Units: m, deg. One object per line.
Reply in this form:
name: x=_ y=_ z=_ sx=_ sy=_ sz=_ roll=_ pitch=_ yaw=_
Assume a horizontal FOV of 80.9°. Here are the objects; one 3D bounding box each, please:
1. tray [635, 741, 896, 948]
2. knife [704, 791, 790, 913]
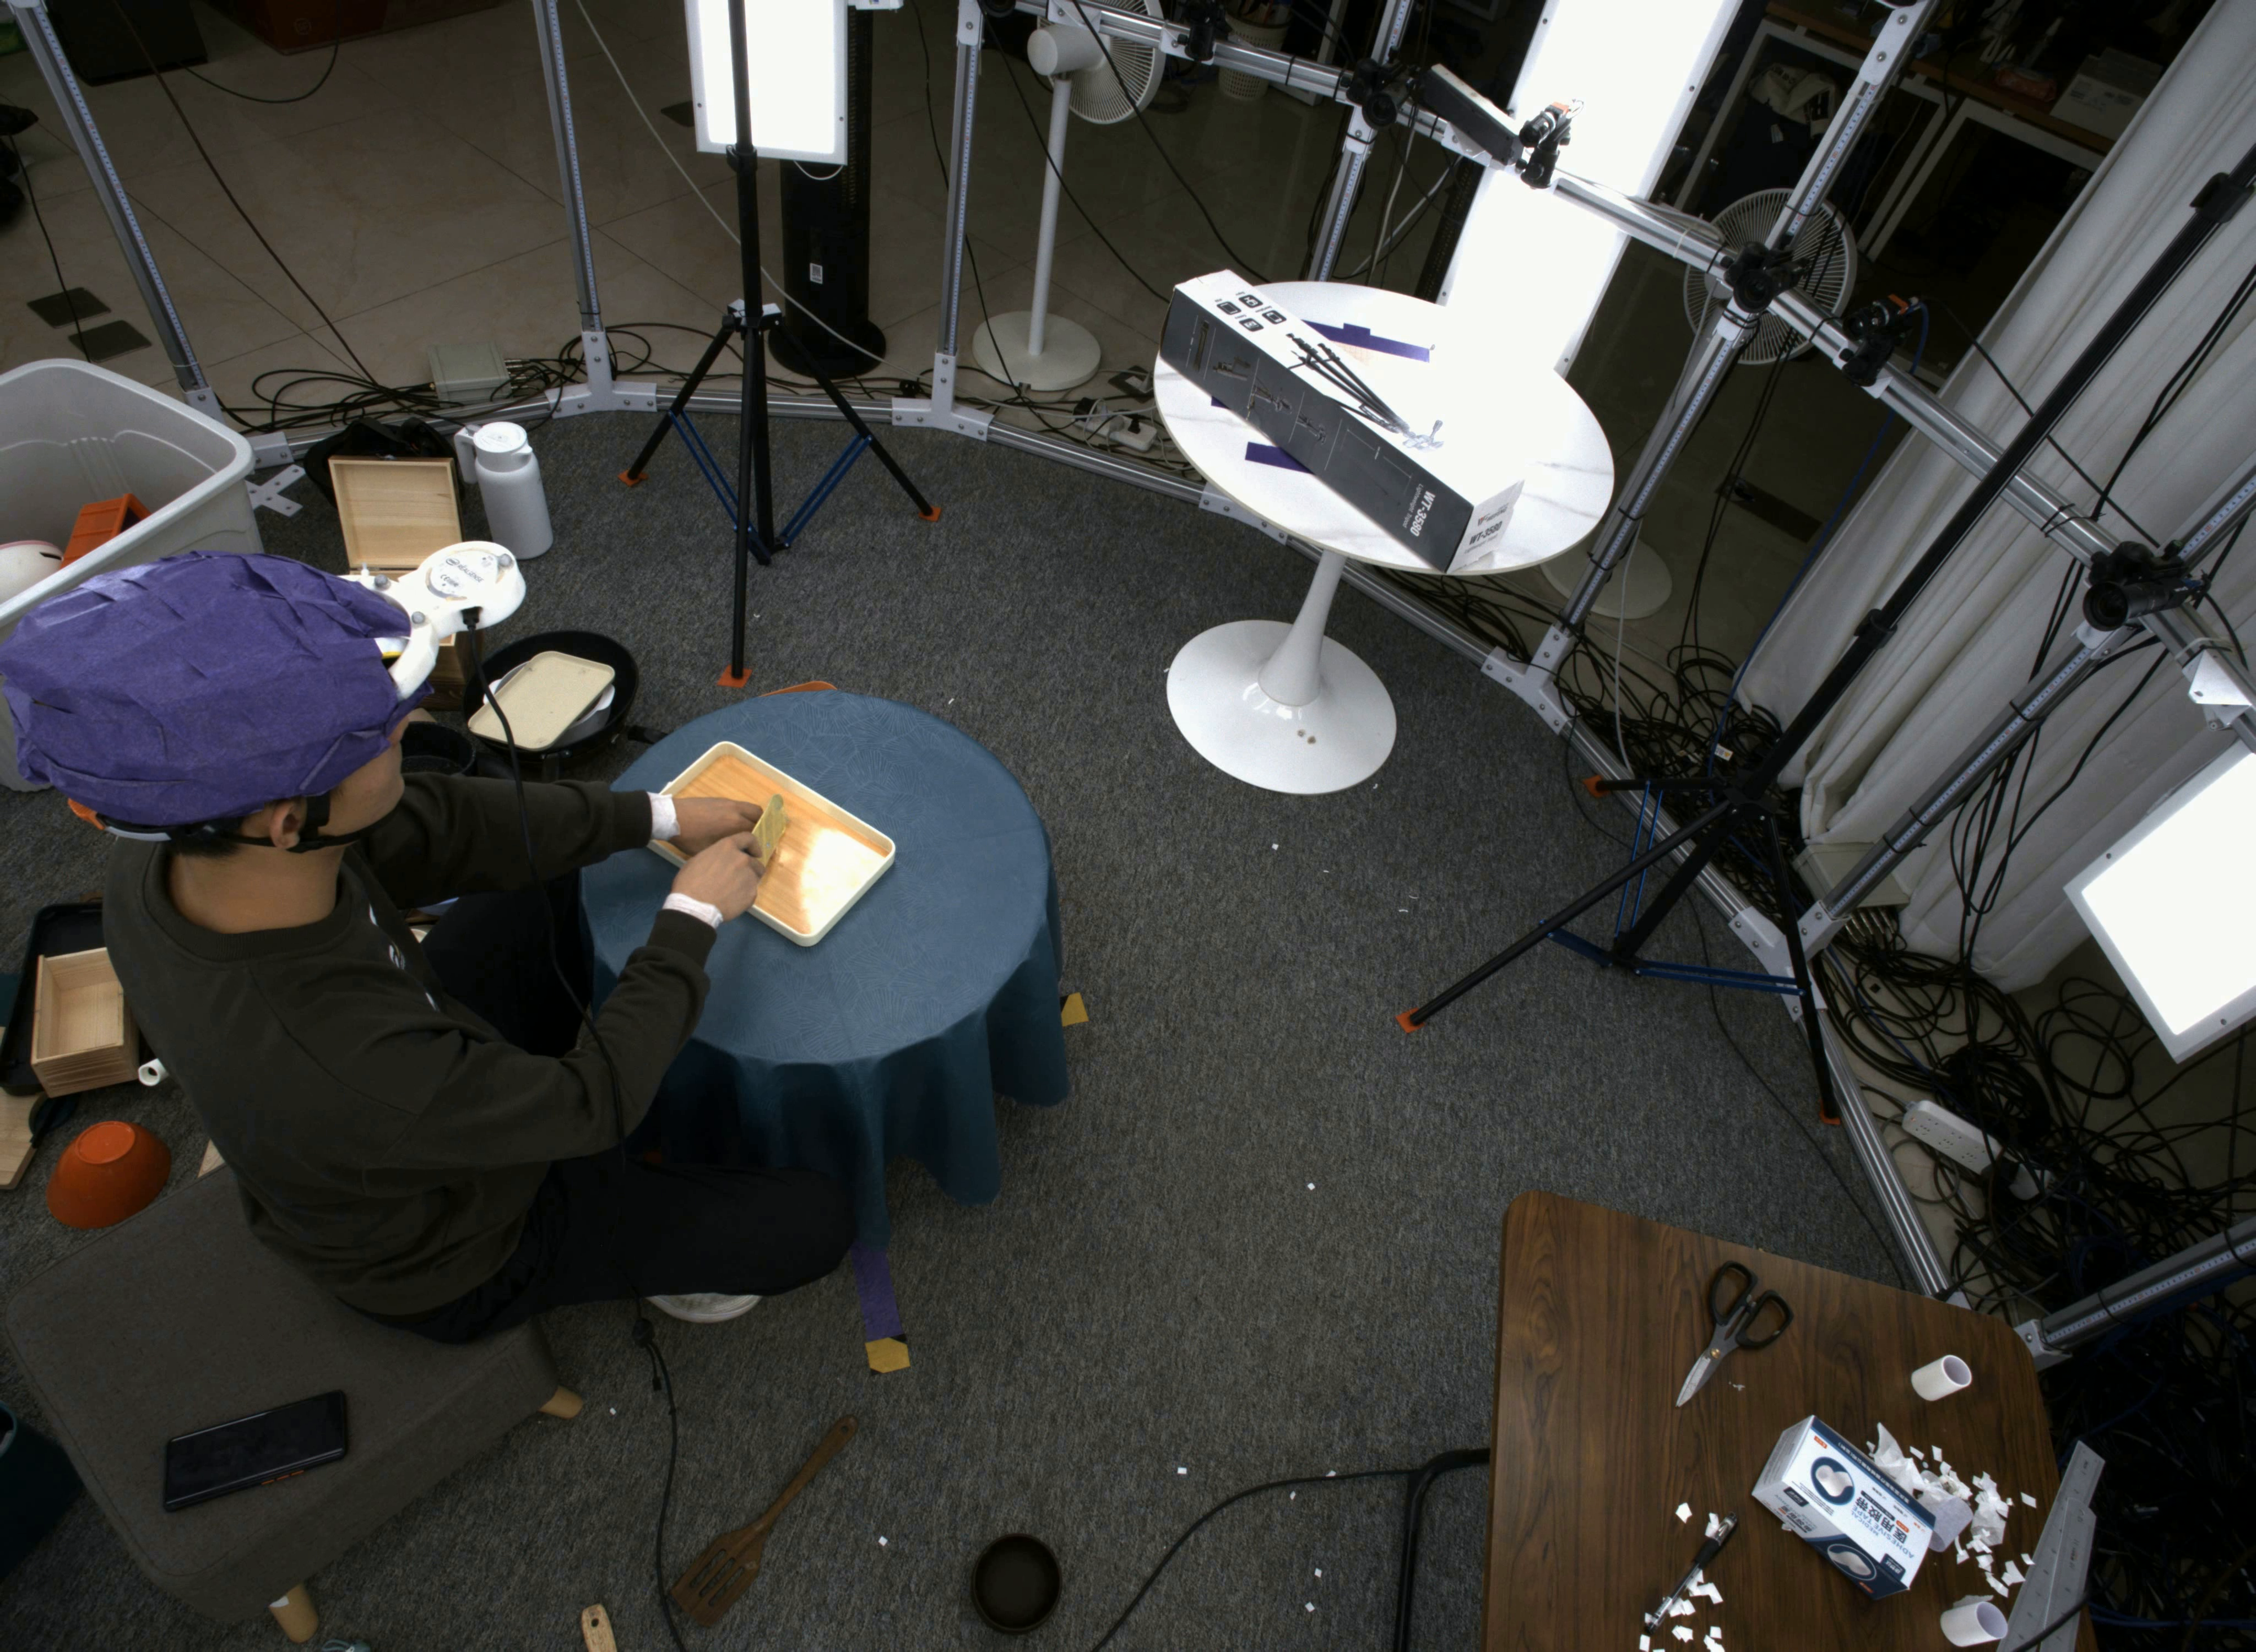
tray: x=-0.474 y=0.018 z=1.692 sx=0.295 sy=0.028 sz=0.191 roll=30 pitch=54 yaw=9
knife: x=-0.460 y=0.035 z=1.588 sx=0.027 sy=0.083 sz=0.284 roll=3 pitch=26 yaw=3
